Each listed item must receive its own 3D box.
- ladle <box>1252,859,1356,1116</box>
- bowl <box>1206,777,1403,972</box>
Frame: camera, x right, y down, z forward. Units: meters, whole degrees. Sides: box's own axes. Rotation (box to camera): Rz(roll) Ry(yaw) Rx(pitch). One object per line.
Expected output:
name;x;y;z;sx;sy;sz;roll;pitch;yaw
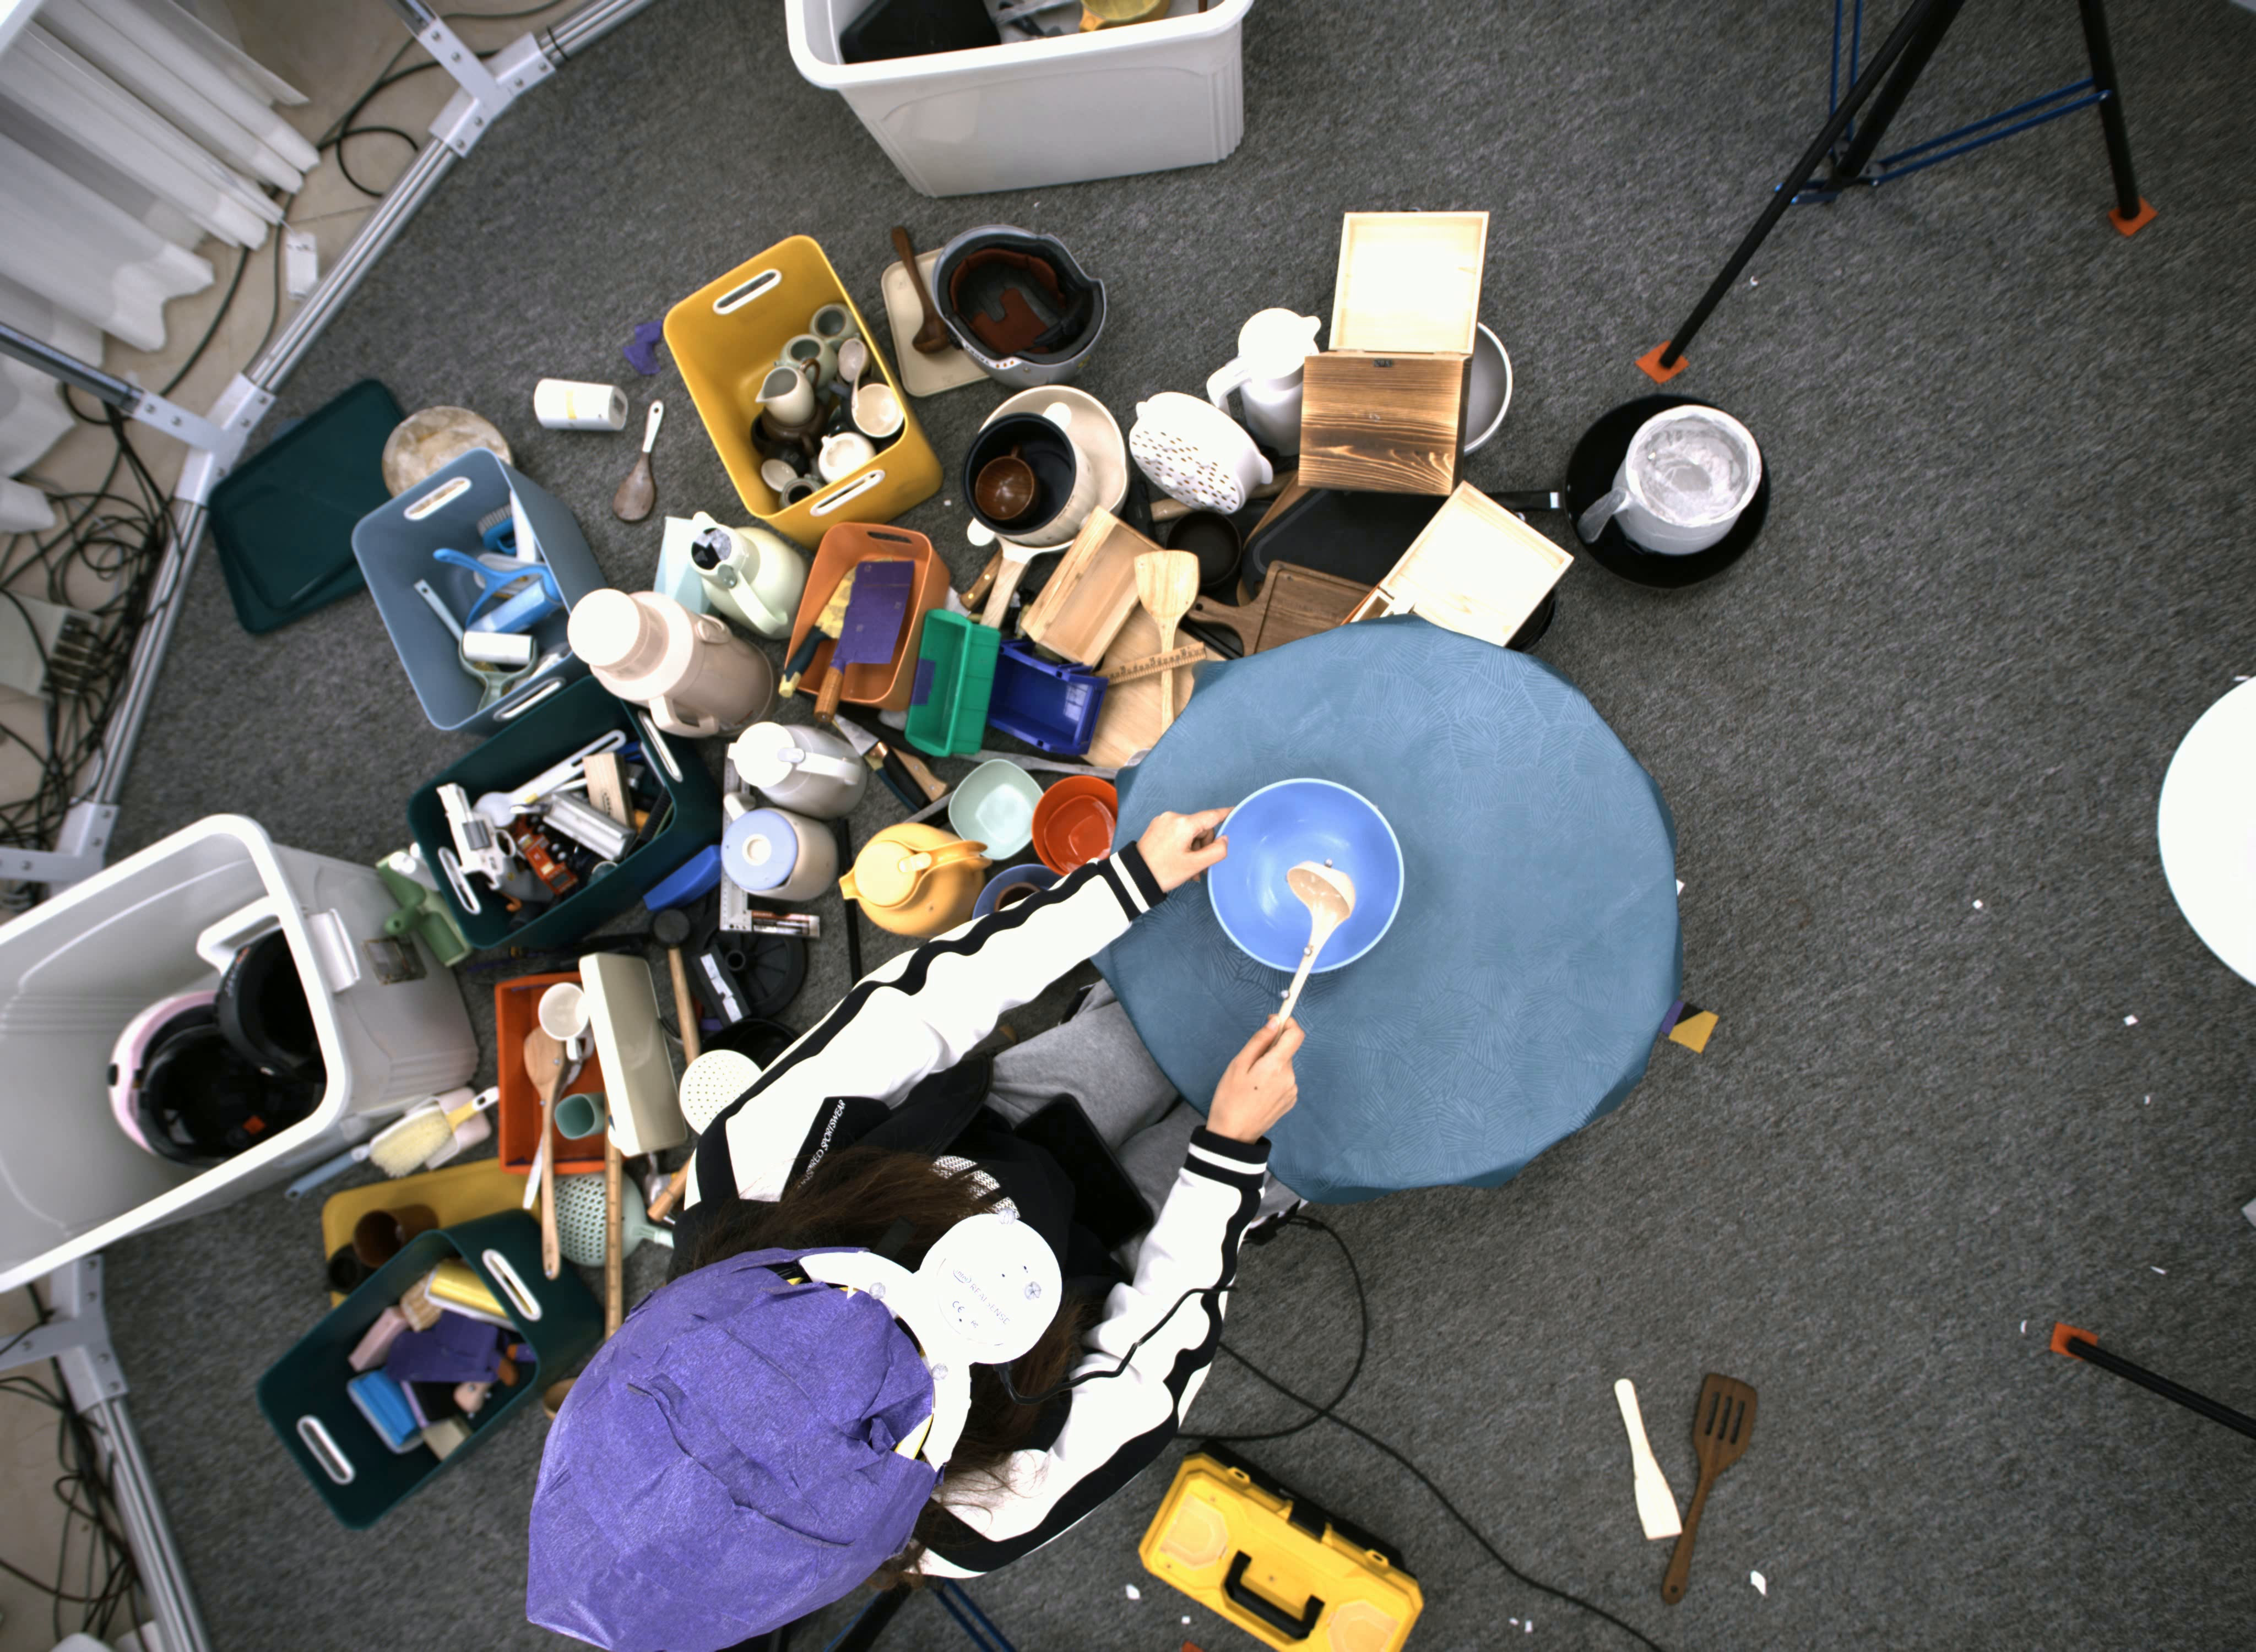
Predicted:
ladle;0.150;0.155;1.339;0.072;0.073;0.254;20;89;41
bowl;0.183;0.054;1.428;0.197;0.096;0.195;-1;84;9
